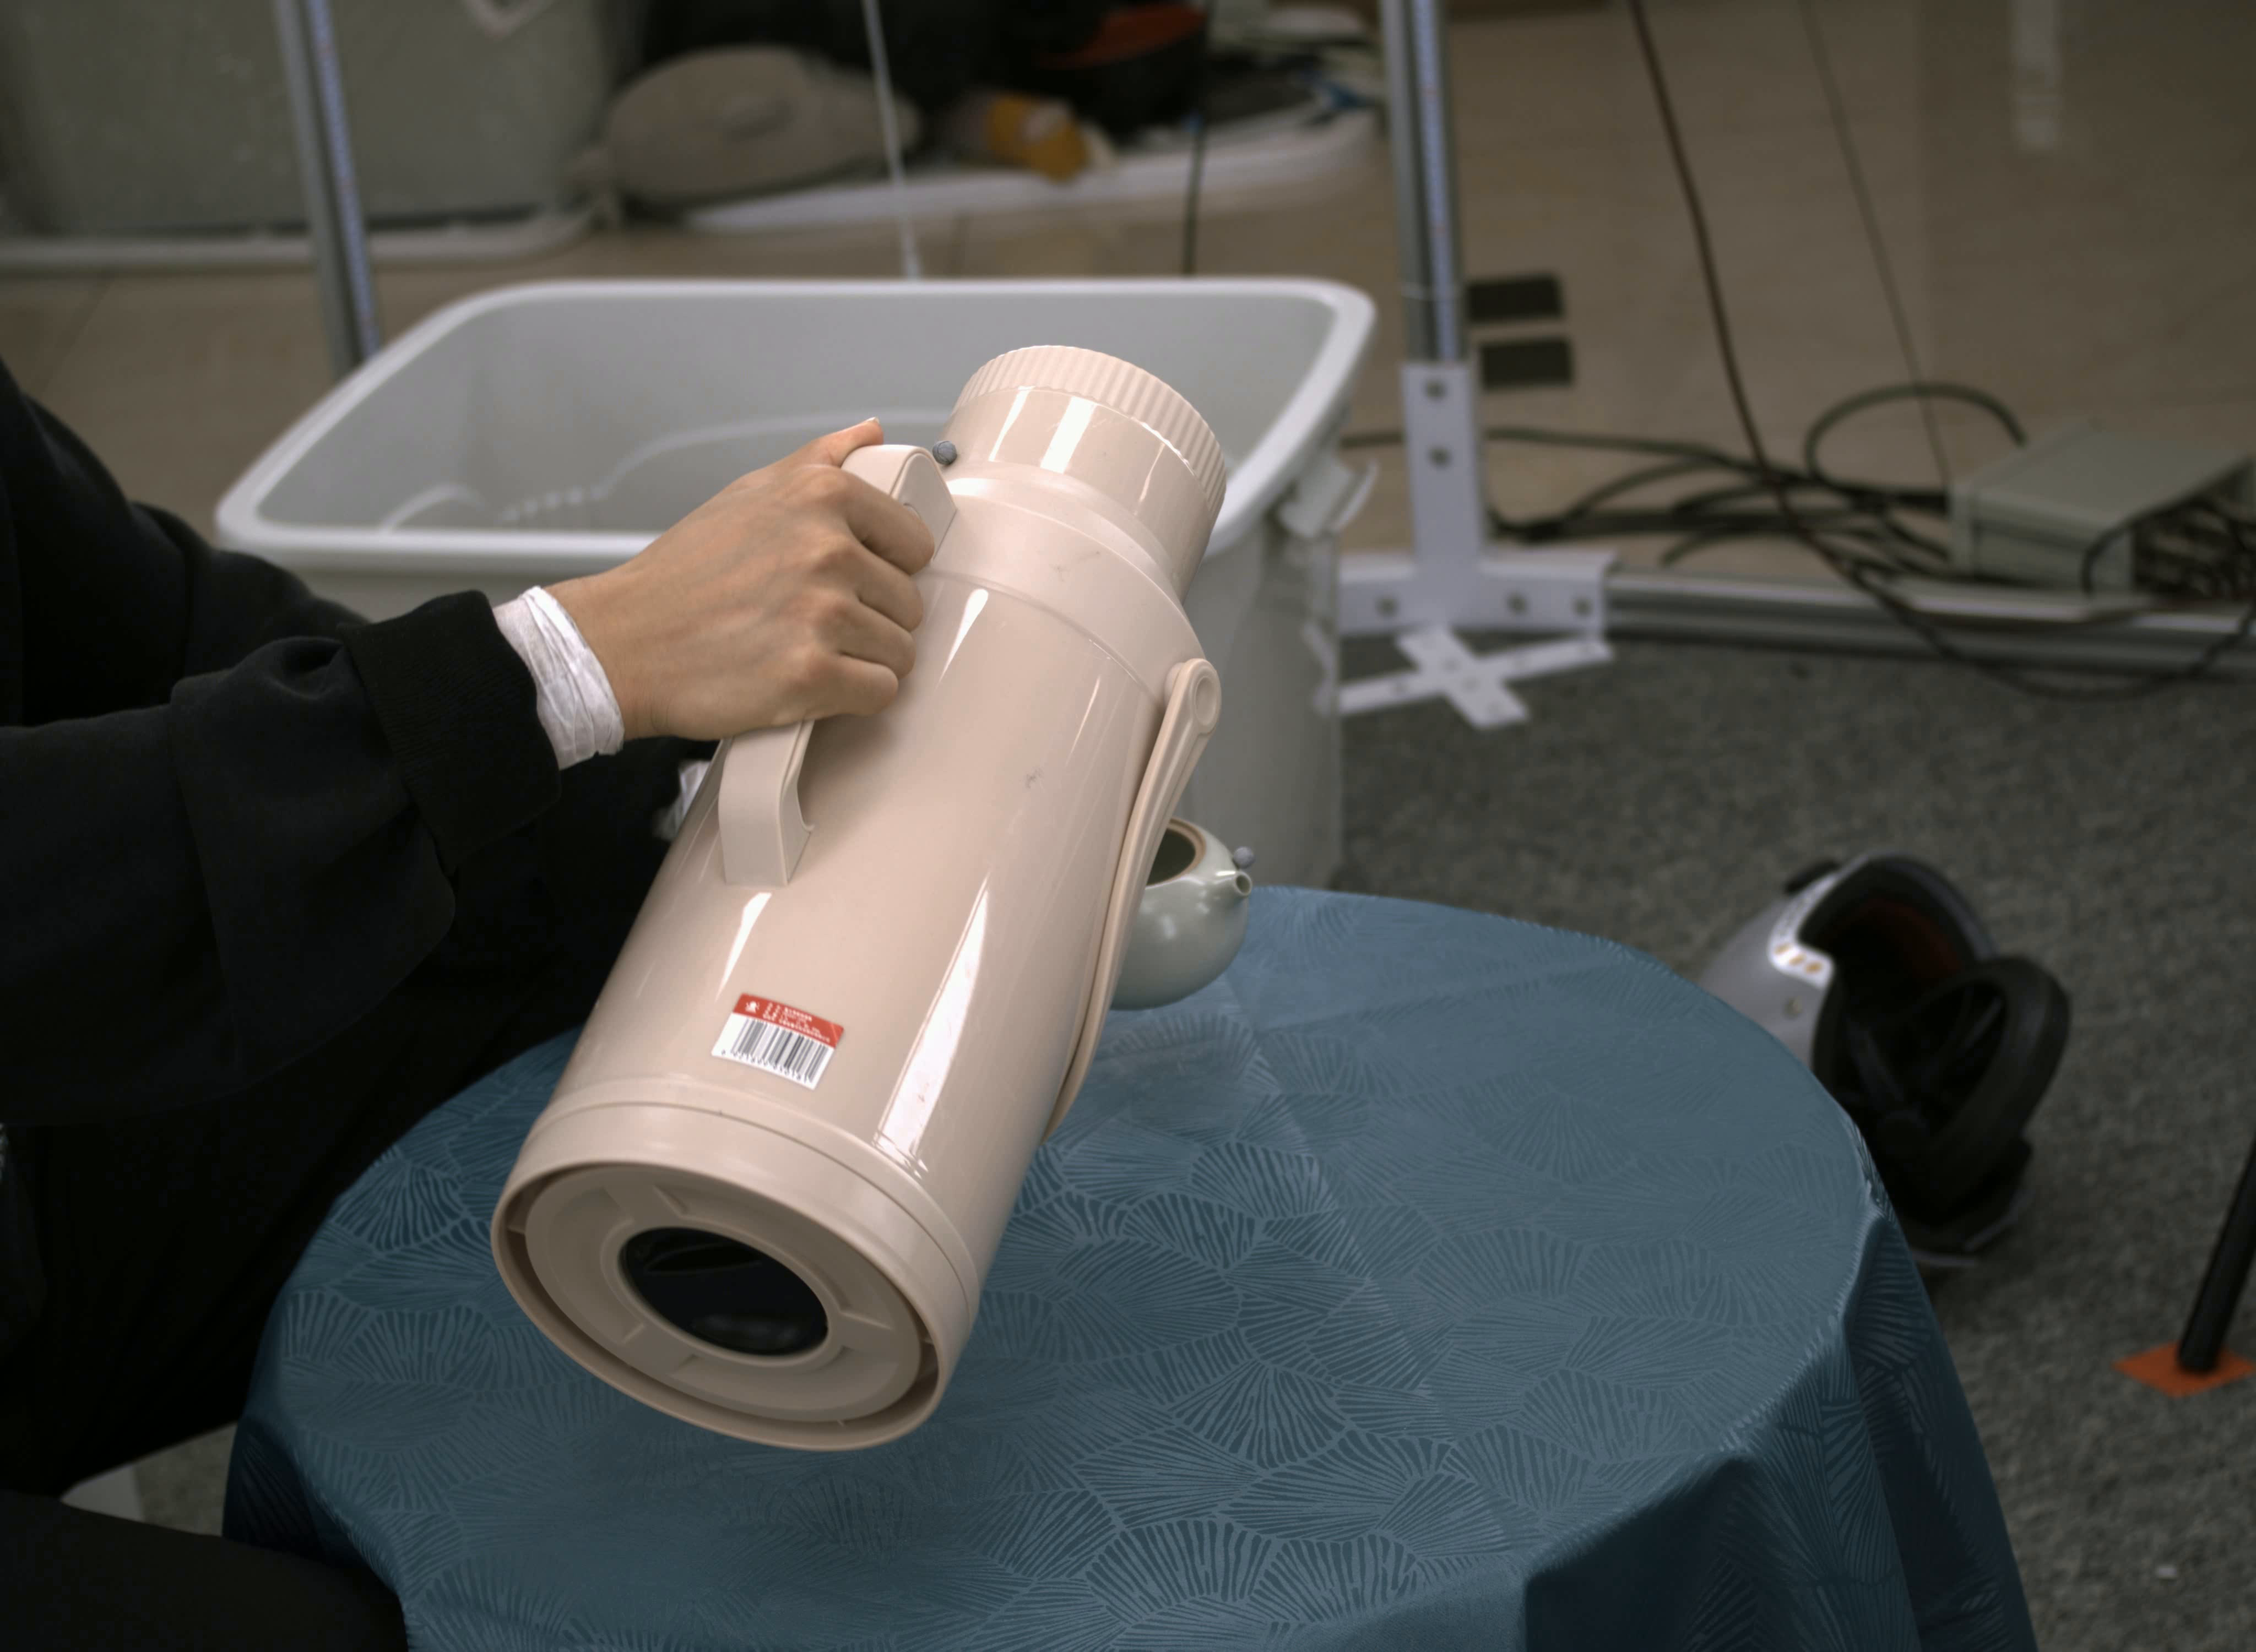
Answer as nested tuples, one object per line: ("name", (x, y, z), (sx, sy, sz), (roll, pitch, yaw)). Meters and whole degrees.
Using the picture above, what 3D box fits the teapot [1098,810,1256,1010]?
("teapot", (-0.006, 0.031, 2.217), (0.127, 0.060, 0.090), (13, 37, 26))

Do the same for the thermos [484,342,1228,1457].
("thermos", (-0.082, 0.002, 1.959), (0.175, 0.211, 0.400), (5, 53, 26))
